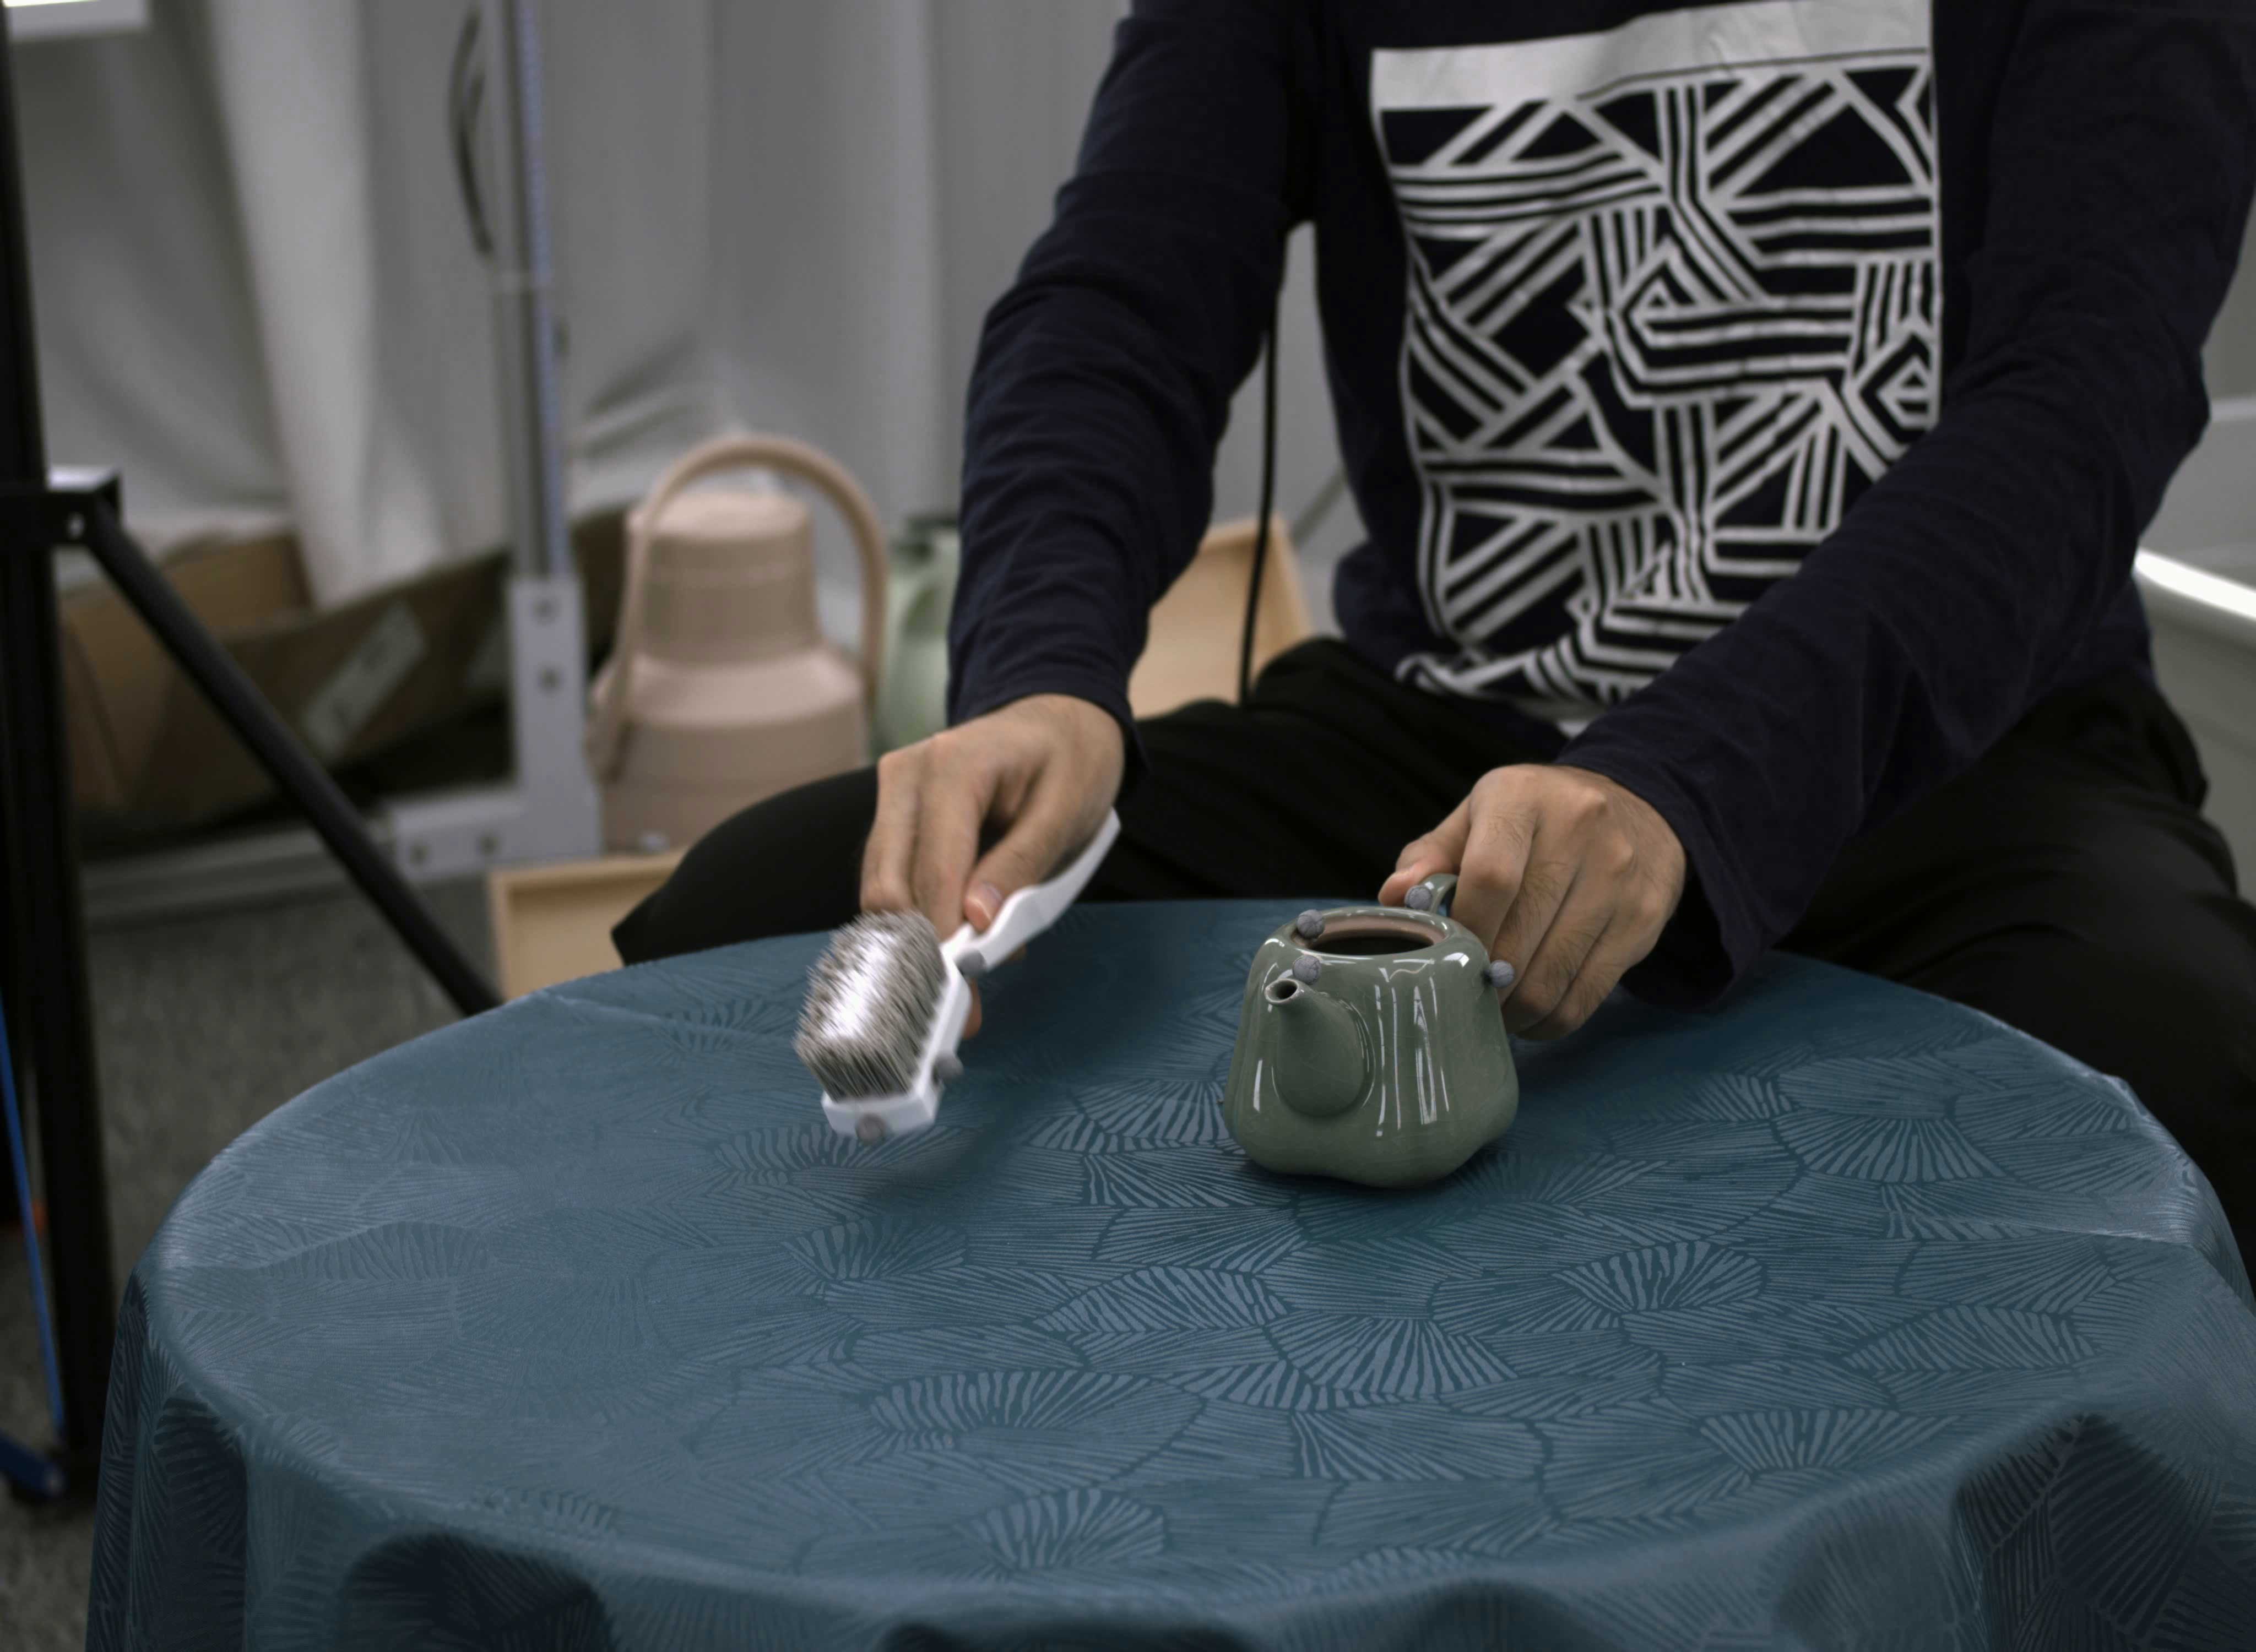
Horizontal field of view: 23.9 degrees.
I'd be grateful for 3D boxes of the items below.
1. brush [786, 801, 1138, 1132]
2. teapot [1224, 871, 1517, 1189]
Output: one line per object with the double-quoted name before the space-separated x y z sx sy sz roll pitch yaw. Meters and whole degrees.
"brush" -0.048 0.024 1.648 0.035 0.050 0.241 -11 19 24
"teapot" 0.073 0.063 1.574 0.081 0.075 0.130 6 17 27
